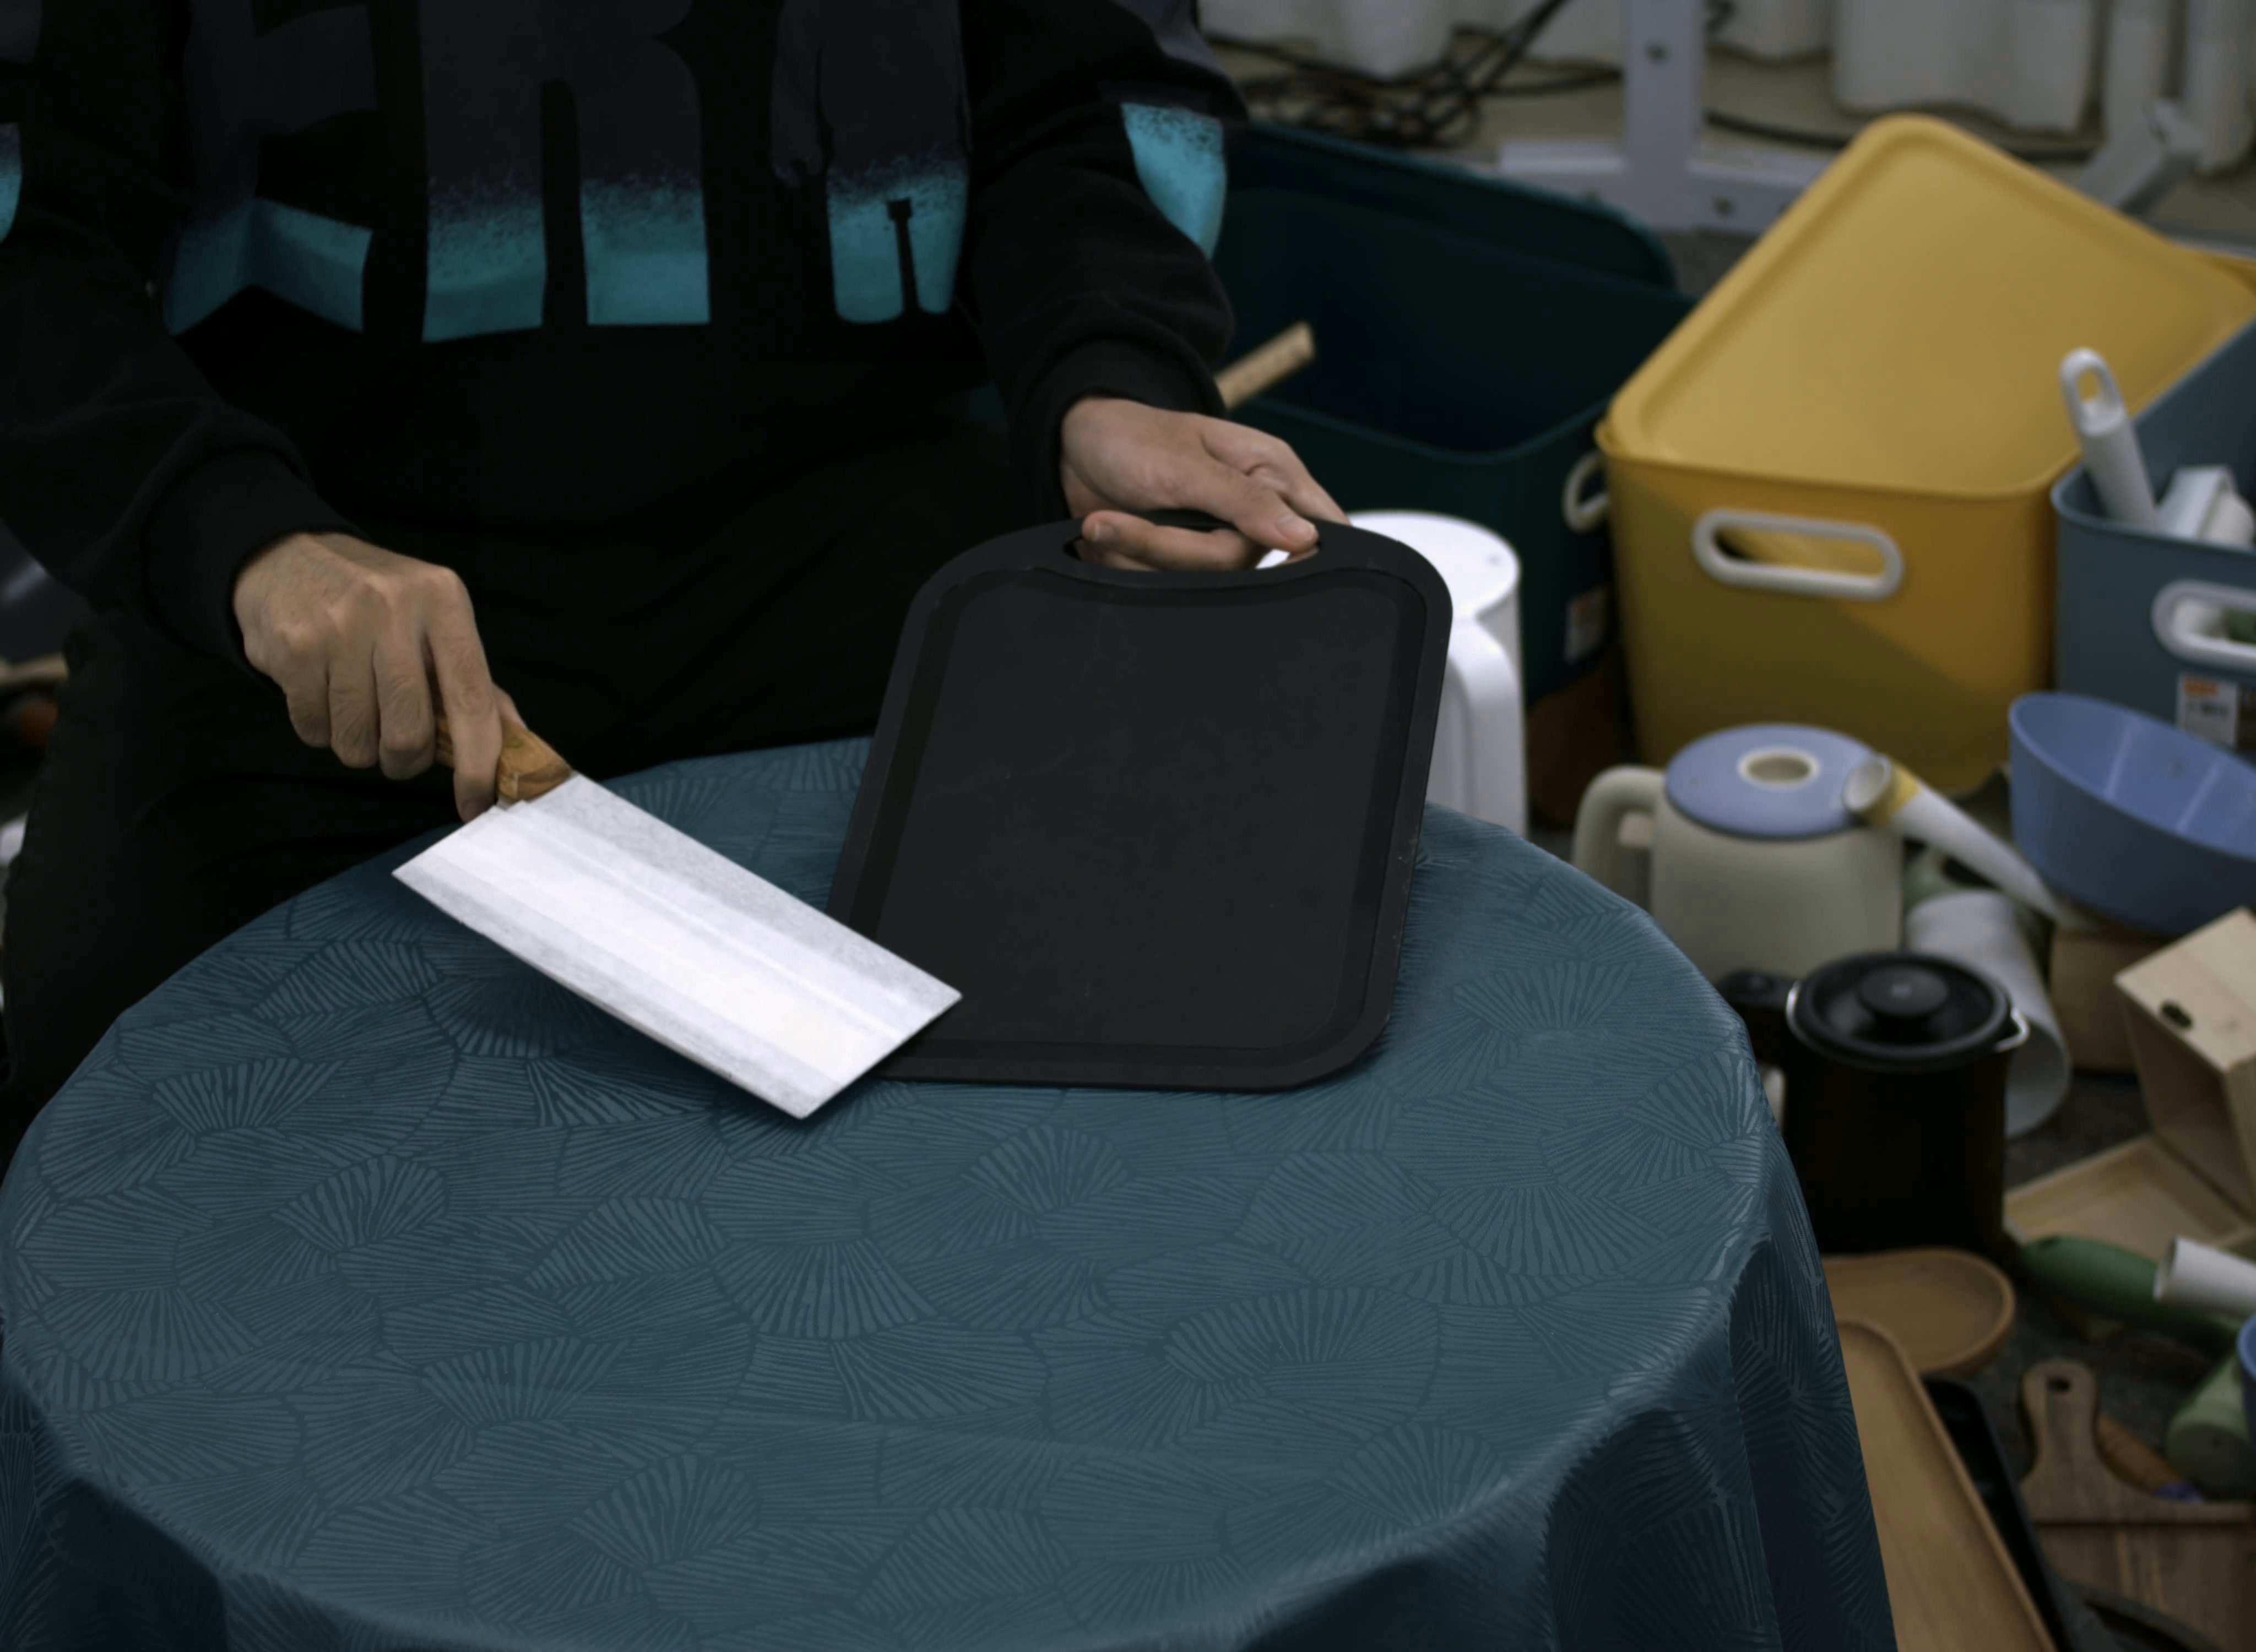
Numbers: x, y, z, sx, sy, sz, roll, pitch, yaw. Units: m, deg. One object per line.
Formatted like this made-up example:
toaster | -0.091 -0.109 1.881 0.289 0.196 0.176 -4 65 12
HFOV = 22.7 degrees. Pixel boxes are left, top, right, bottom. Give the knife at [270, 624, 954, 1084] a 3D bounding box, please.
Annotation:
knife | -0.203 0.012 1.998 0.305 0.020 0.094 29 41 25

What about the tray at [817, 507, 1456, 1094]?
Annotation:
tray | 0.005 -0.018 2.047 0.210 0.009 0.332 2 40 10
